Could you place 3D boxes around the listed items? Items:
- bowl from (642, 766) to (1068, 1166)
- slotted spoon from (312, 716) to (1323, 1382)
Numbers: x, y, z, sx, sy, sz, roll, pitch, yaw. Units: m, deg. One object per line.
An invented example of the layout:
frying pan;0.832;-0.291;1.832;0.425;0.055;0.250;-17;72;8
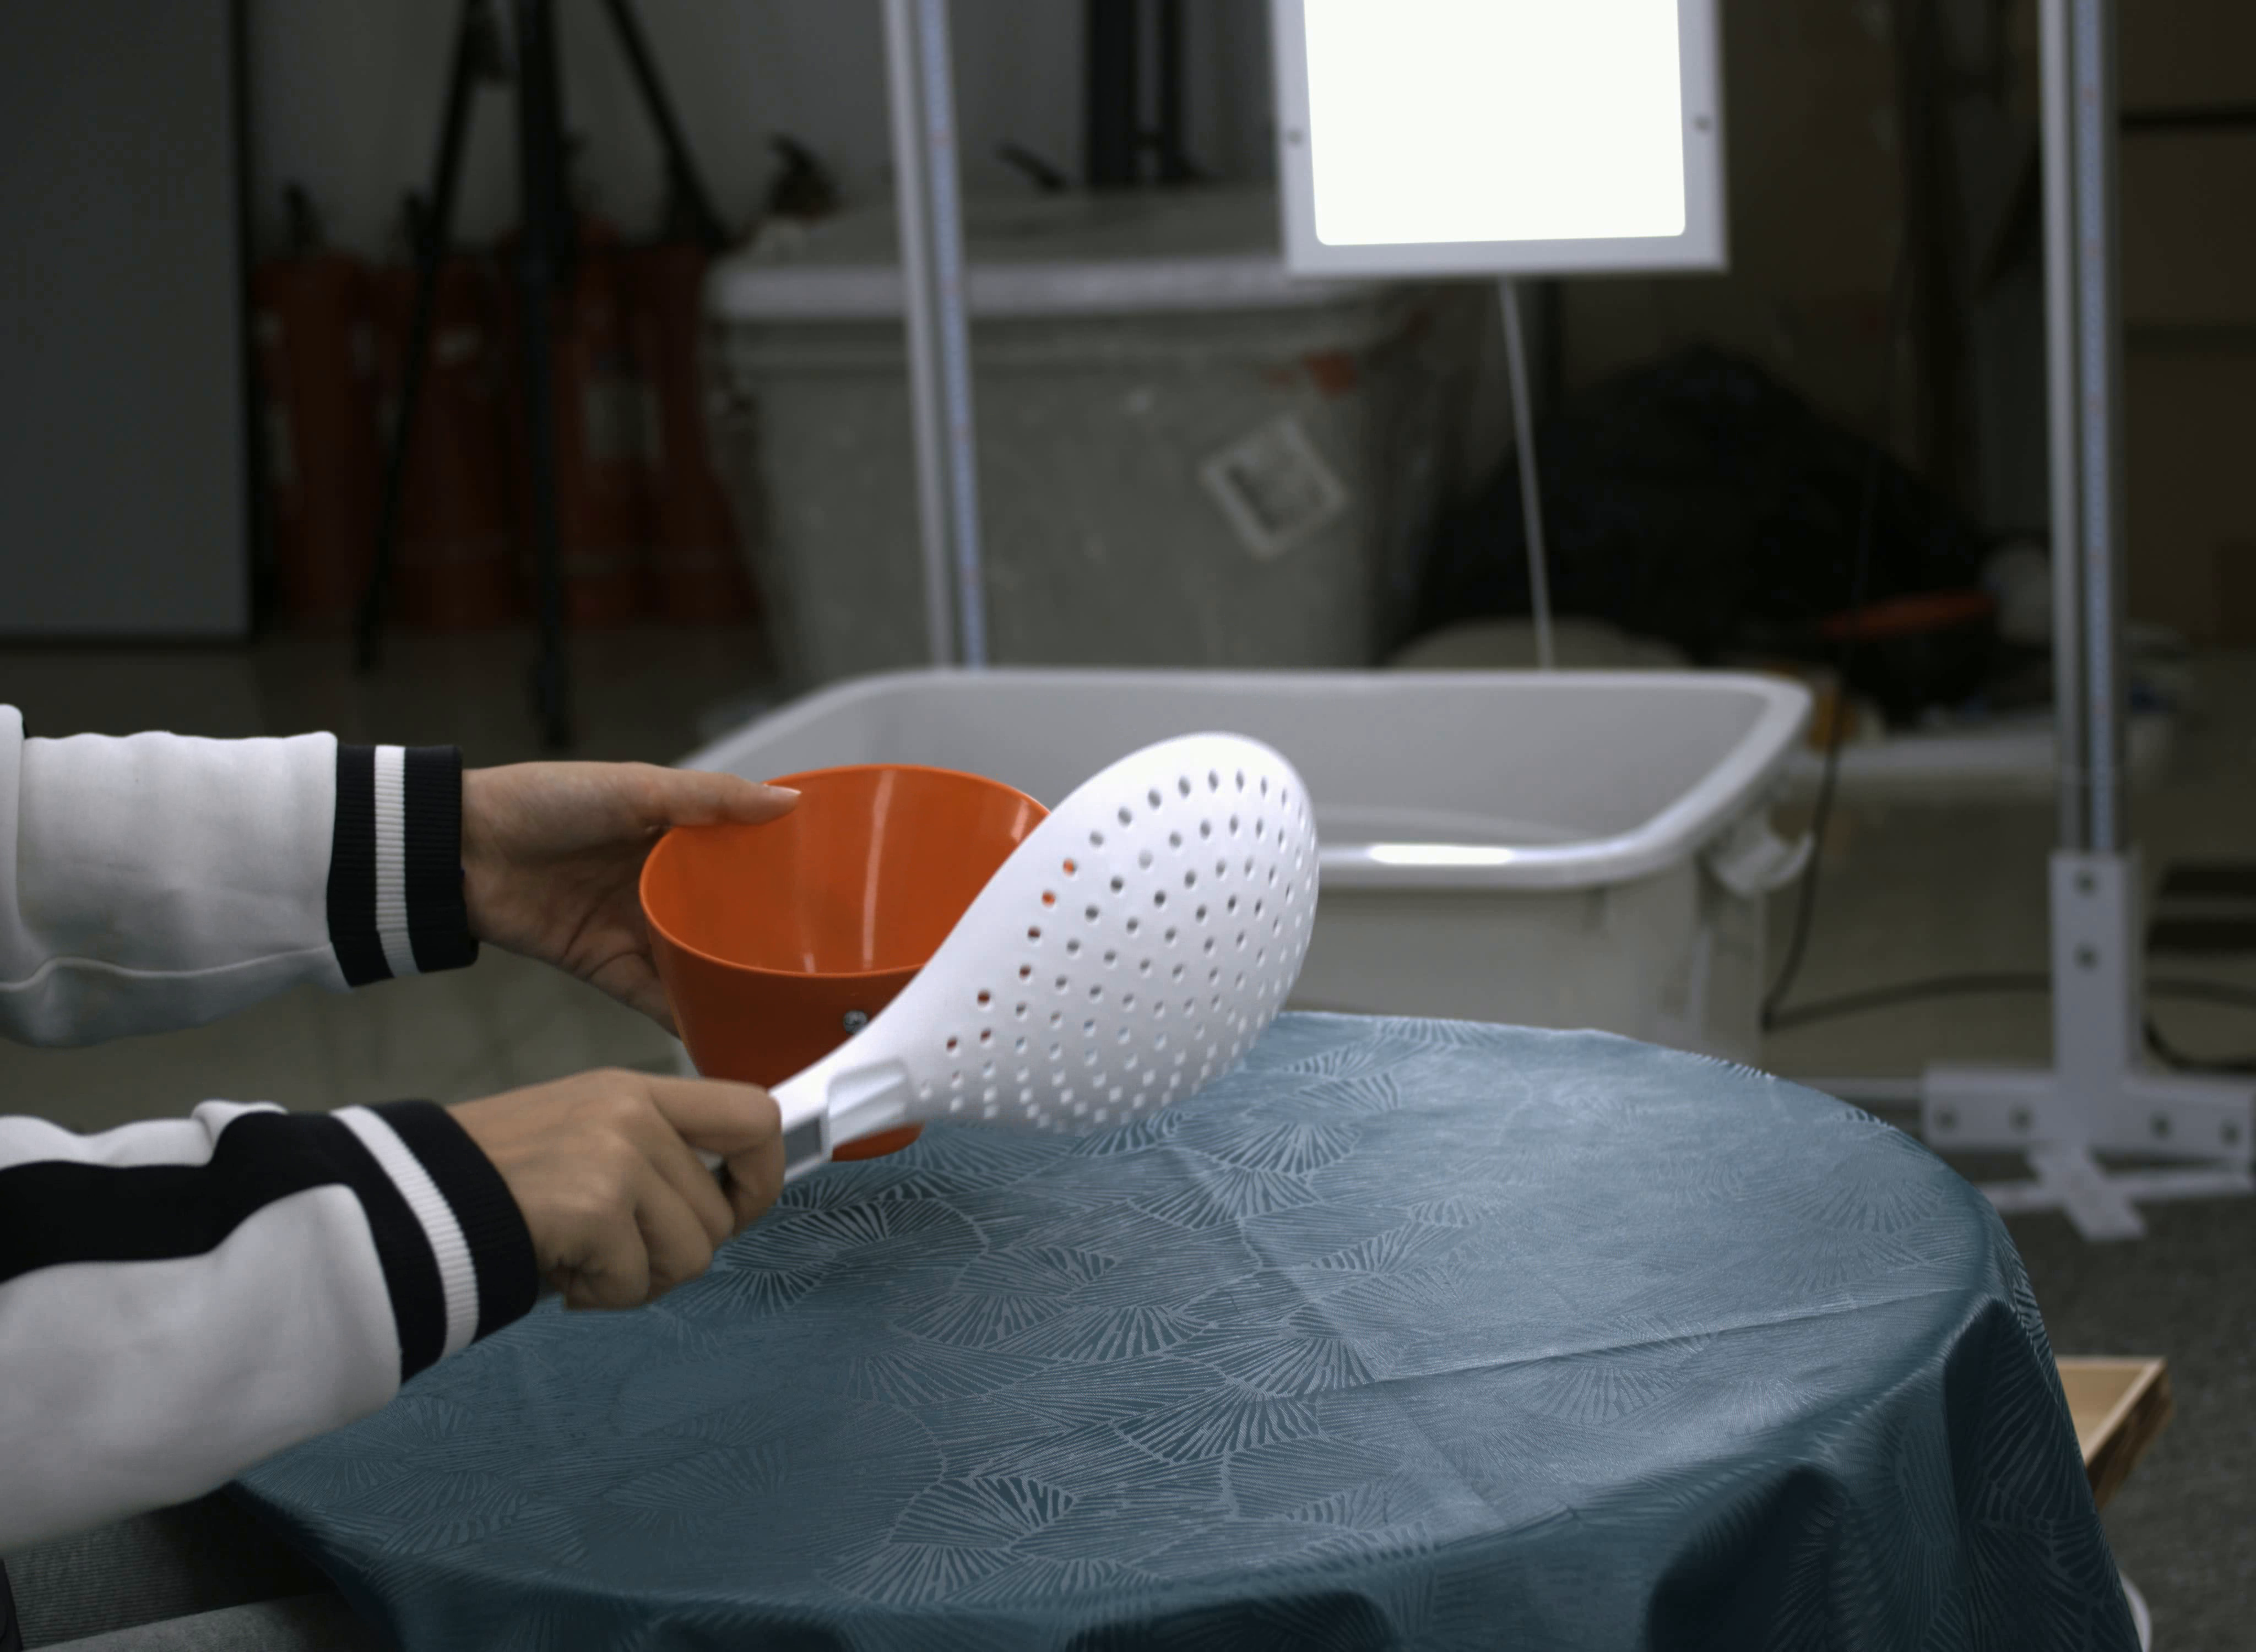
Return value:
bowl;-0.094;0.053;1.889;0.147;0.105;0.147;2;22;-2
slotted spoon;-0.080;0.071;1.587;0.344;0.137;0.046;-23;52;-20
